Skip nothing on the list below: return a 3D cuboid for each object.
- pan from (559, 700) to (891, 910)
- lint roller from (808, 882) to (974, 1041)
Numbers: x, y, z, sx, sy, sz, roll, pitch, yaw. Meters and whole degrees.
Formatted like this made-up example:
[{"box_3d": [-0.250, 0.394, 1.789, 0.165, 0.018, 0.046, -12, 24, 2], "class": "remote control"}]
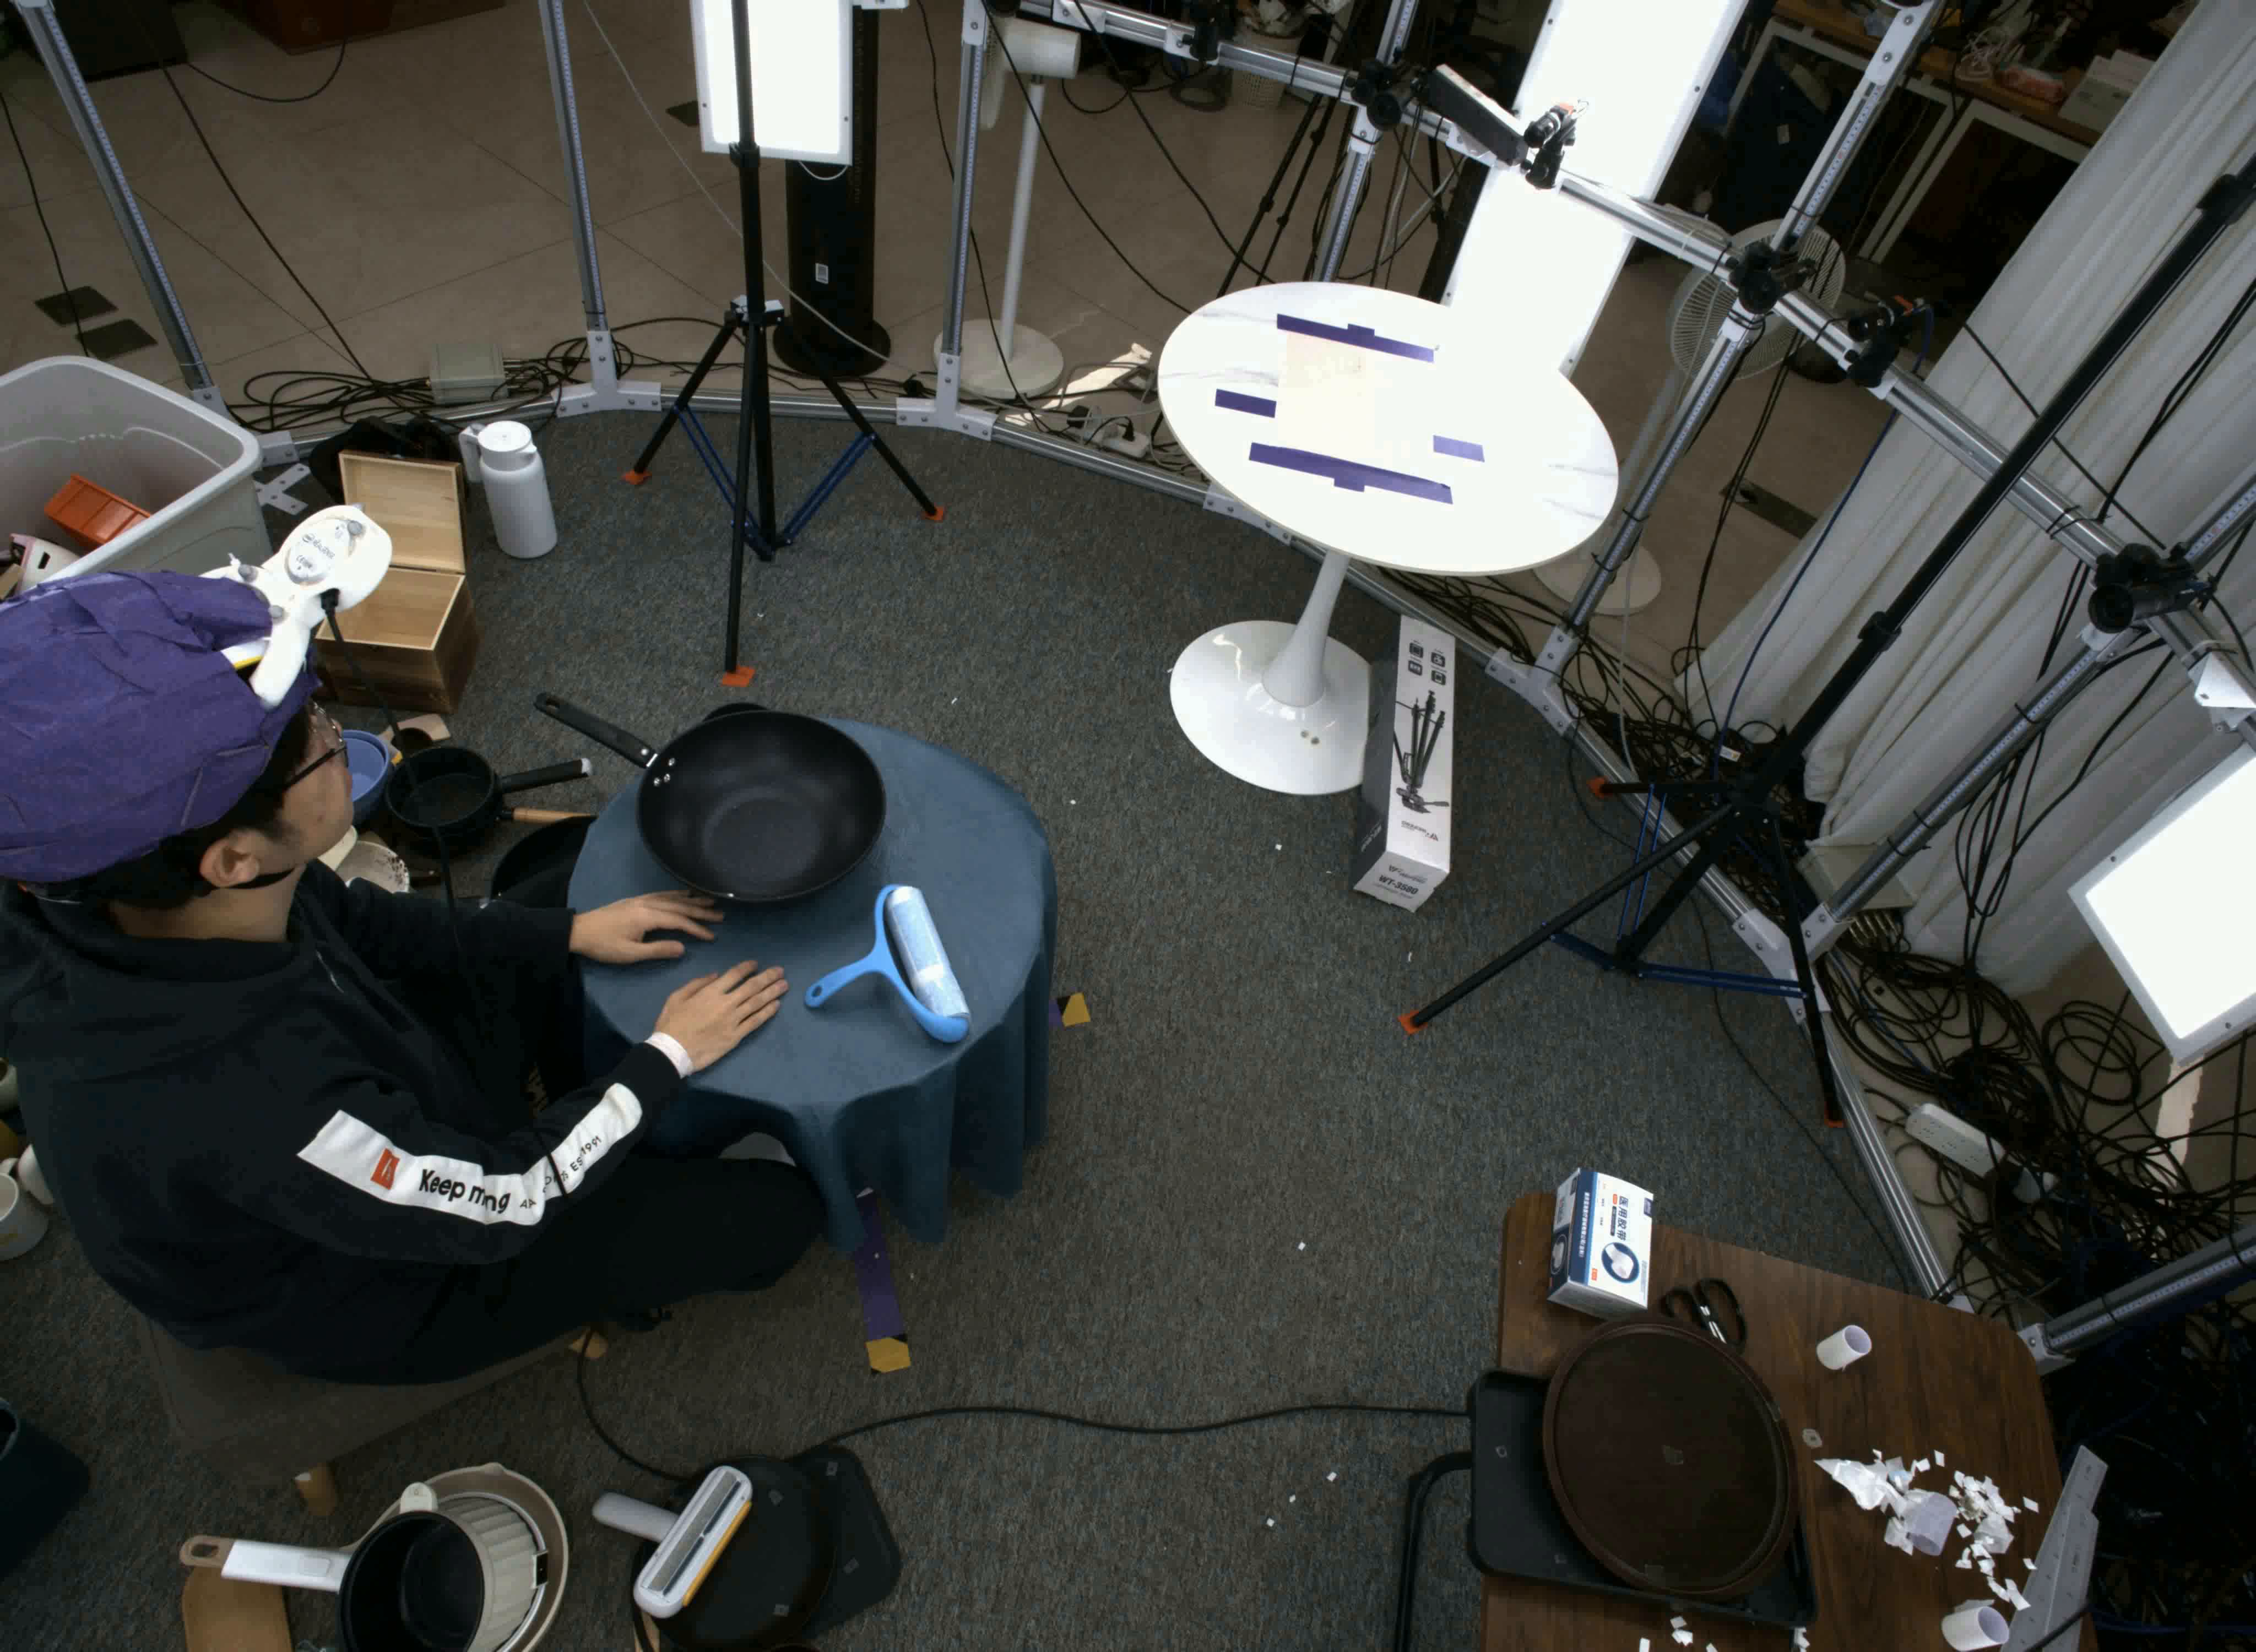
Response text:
[{"box_3d": [-0.538, -0.043, 1.663, 0.472, 0.114, 0.307, 21, 50, 1], "class": "pan"}, {"box_3d": [-0.302, 0.178, 1.594, 0.181, 0.069, 0.224, -16, 63, -27], "class": "lint roller"}]
